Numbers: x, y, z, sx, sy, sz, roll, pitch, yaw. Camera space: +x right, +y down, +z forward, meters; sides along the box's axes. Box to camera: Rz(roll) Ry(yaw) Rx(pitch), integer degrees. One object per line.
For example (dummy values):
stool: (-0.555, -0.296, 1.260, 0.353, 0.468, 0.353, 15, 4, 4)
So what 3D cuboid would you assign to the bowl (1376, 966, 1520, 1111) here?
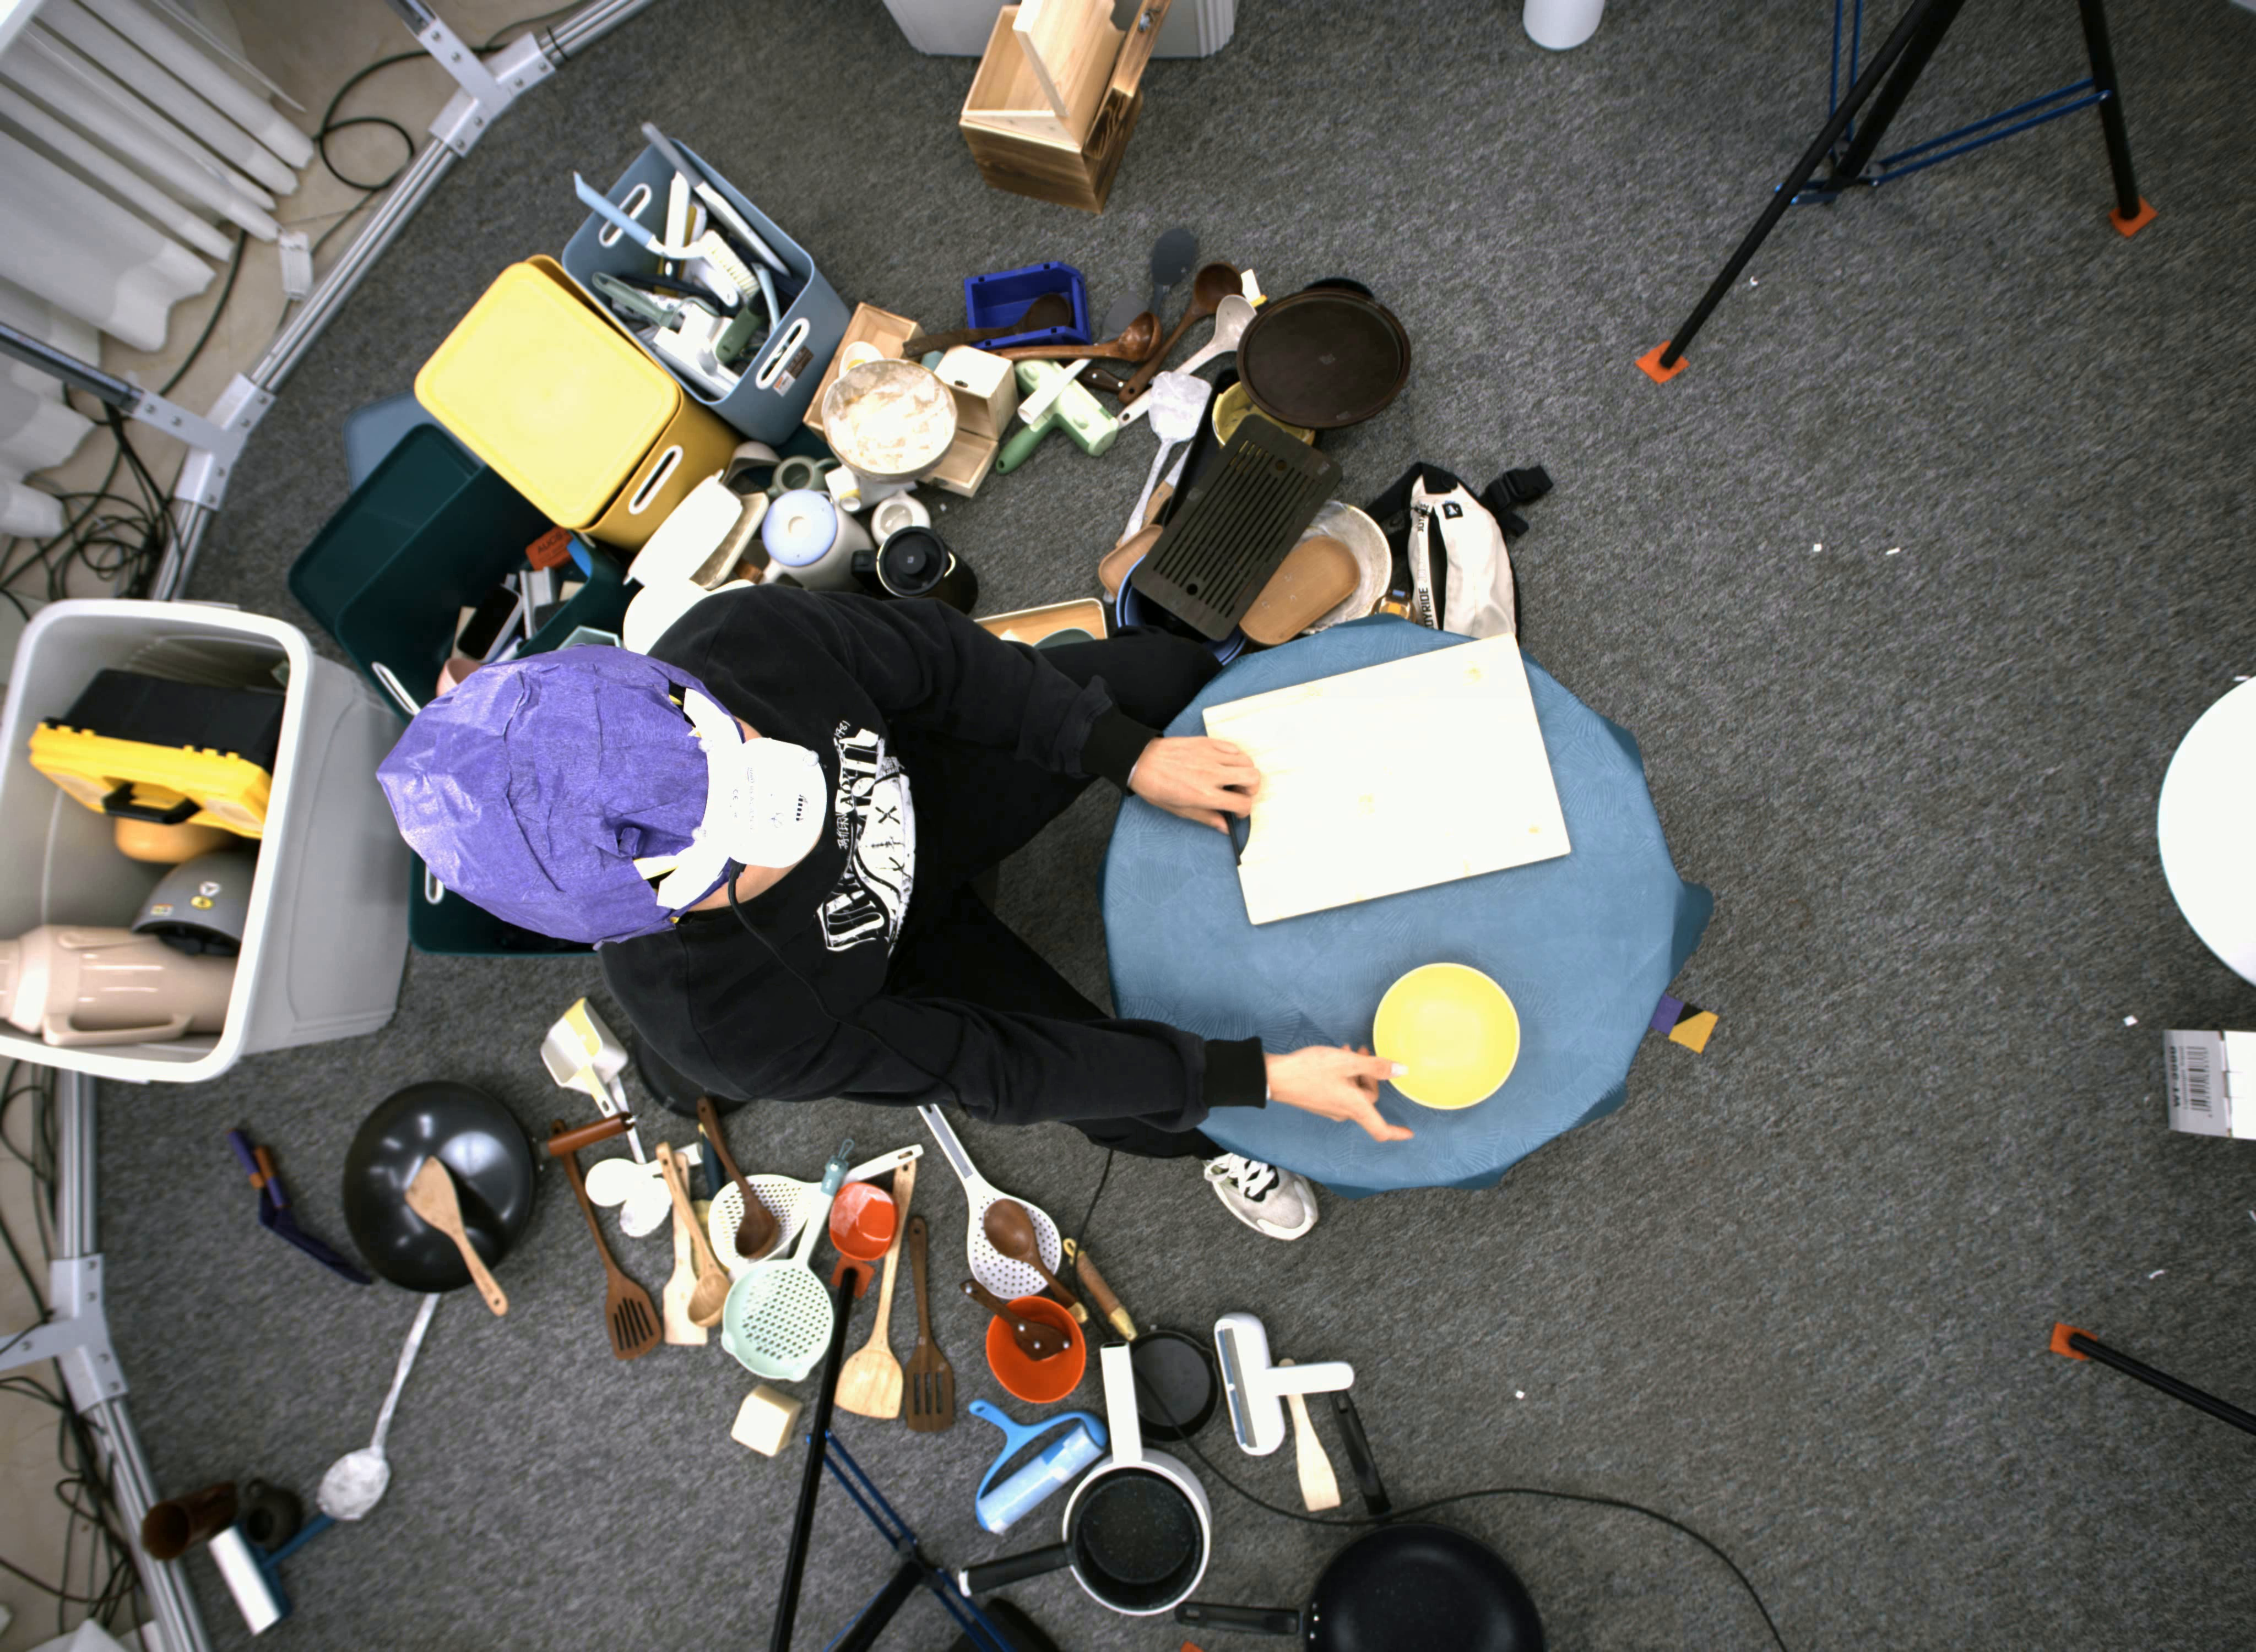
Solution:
bowl: (0.327, 0.216, 1.416, 0.146, 0.060, 0.144, -2, 83, 11)

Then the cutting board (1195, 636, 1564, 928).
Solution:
cutting board: (0.266, -0.047, 1.465, 0.350, 0.023, 0.249, -15, 84, 9)
